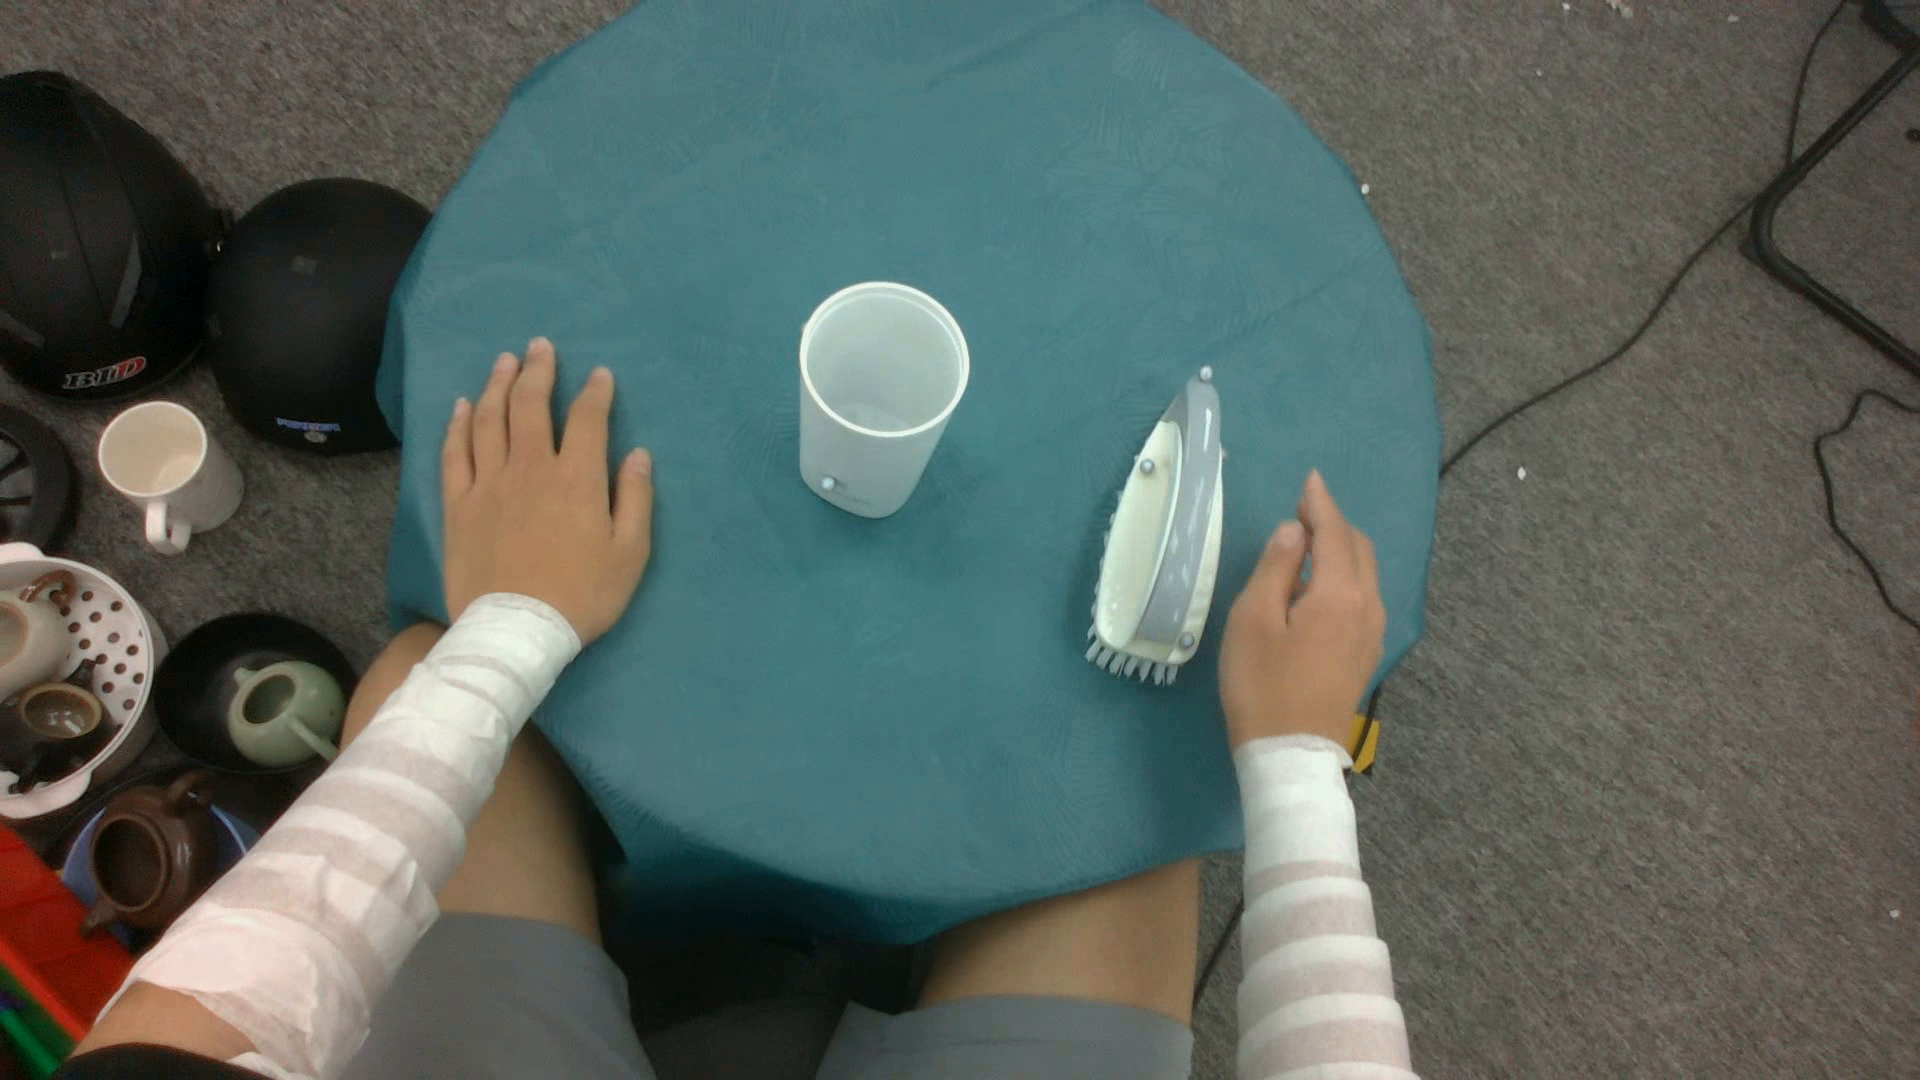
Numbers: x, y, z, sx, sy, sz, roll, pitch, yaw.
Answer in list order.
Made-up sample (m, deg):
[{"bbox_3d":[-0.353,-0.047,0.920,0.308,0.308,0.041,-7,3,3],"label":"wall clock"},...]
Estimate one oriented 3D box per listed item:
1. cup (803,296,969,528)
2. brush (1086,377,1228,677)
[{"bbox_3d":[-0.045,-0.061,0.725,0.082,0.125,0.082,3,69,-8],"label":"cup"},{"bbox_3d":[0.117,-0.020,0.752,0.061,0.094,0.176,16,67,-6],"label":"brush"}]
